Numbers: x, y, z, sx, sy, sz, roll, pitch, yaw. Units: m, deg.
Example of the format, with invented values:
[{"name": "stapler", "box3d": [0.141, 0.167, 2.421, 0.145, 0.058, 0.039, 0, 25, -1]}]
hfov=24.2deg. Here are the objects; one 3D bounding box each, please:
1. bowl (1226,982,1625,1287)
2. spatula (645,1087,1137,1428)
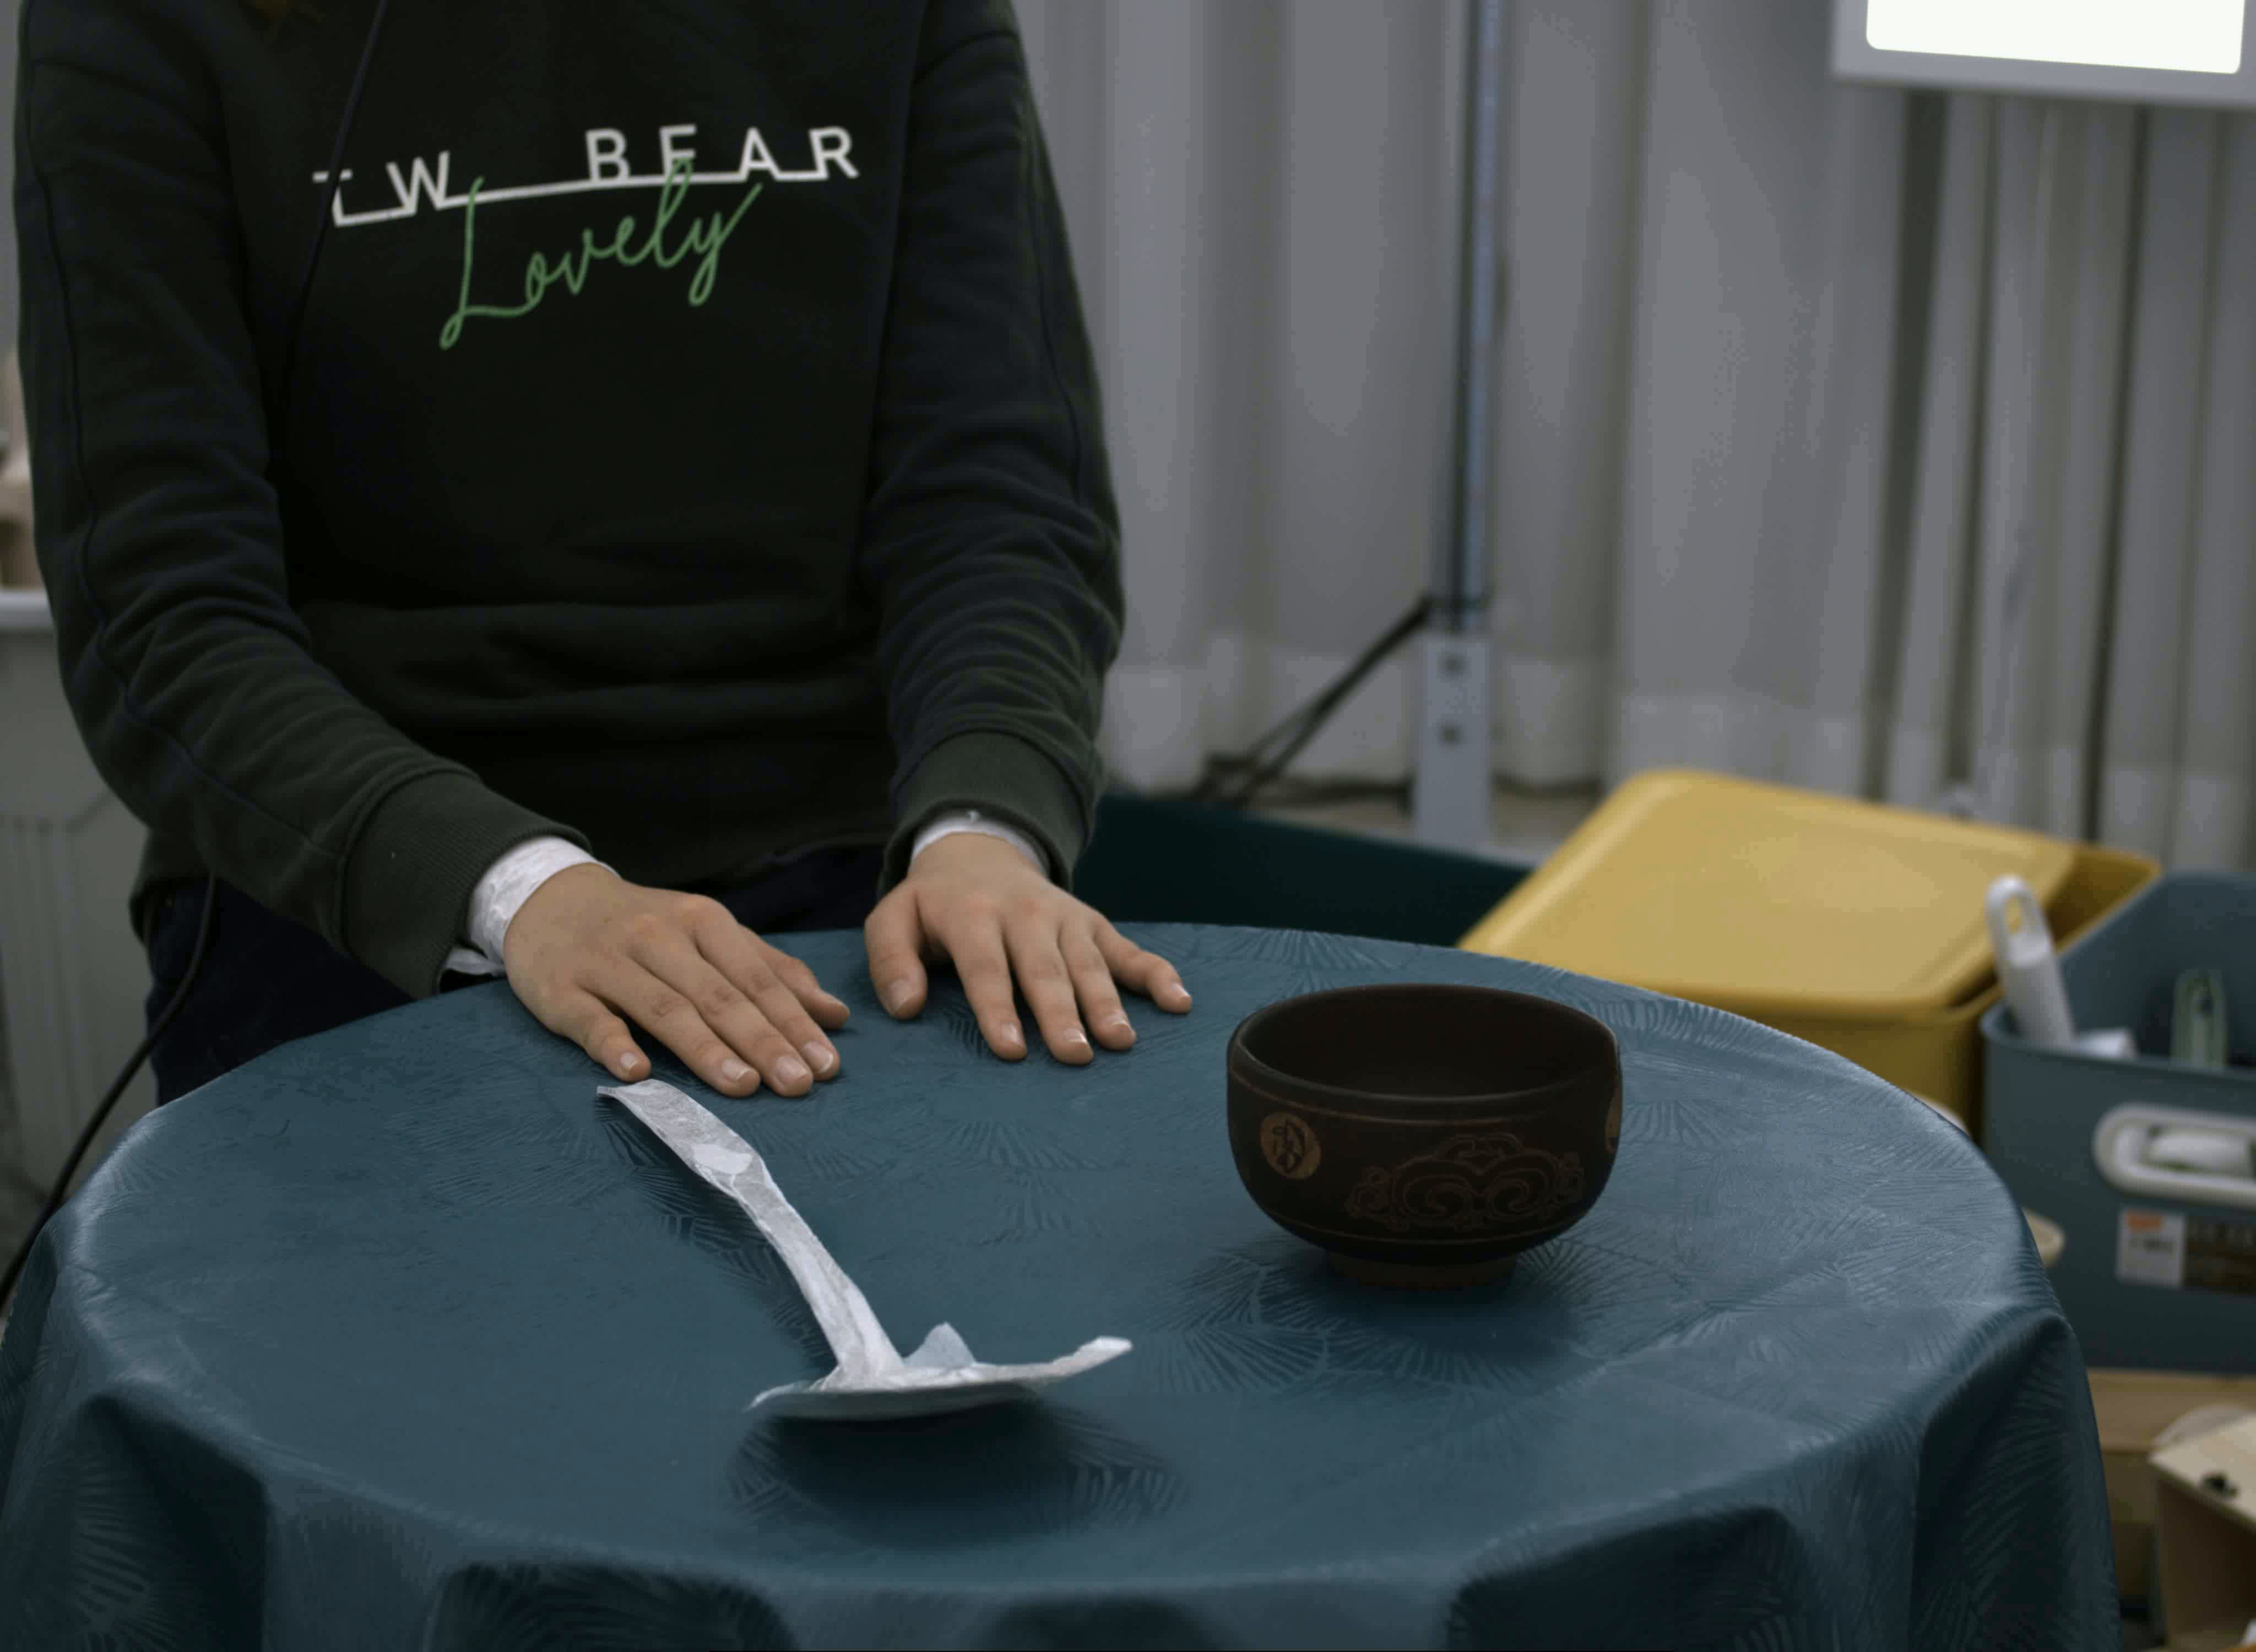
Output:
[{"name": "bowl", "box3d": [0.087, 0.095, 1.561, 0.117, 0.070, 0.117, 2, 15, 0]}, {"name": "spatula", "box3d": [-0.095, 0.116, 1.538, 0.099, 0.045, 0.361, -7, 18, -18]}]
